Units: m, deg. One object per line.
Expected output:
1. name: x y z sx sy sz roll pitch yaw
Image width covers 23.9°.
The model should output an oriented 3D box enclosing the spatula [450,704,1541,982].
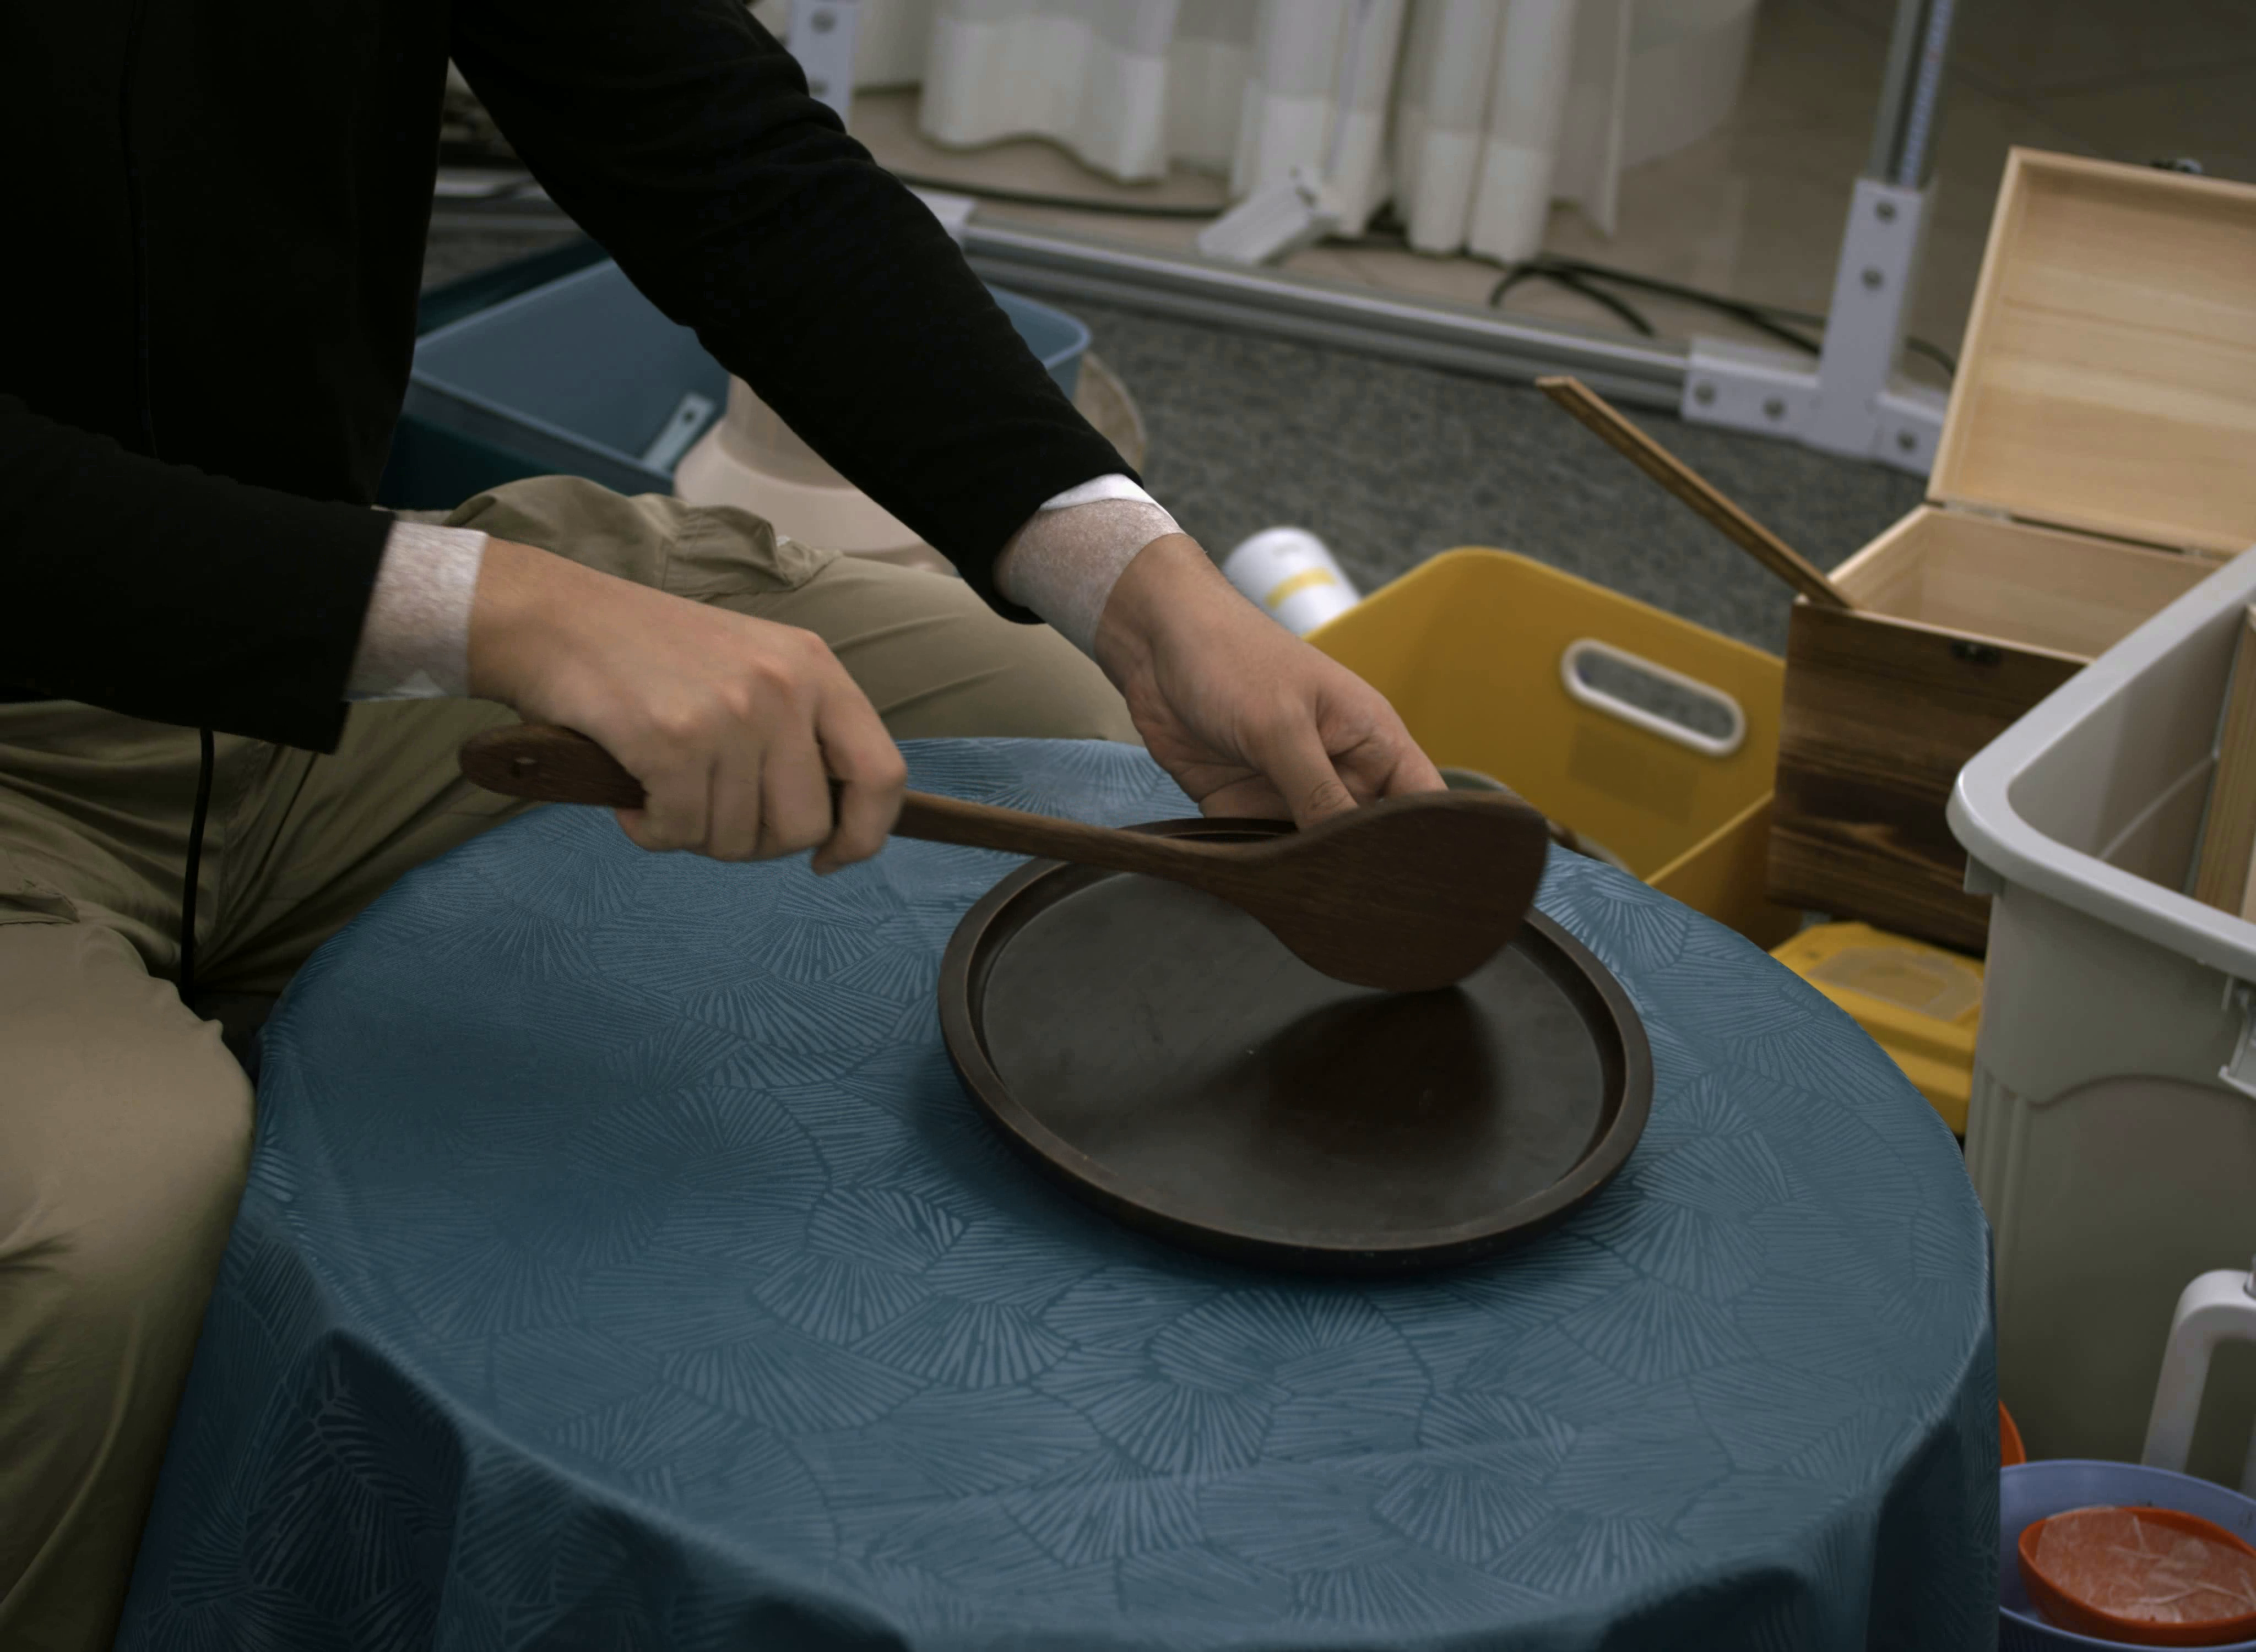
1. spatula: -0.042 -0.003 1.818 0.383 0.096 0.016 9 40 -16

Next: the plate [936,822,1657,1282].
1. plate: 0.058 0.076 1.853 0.254 0.029 0.256 5 35 -4
